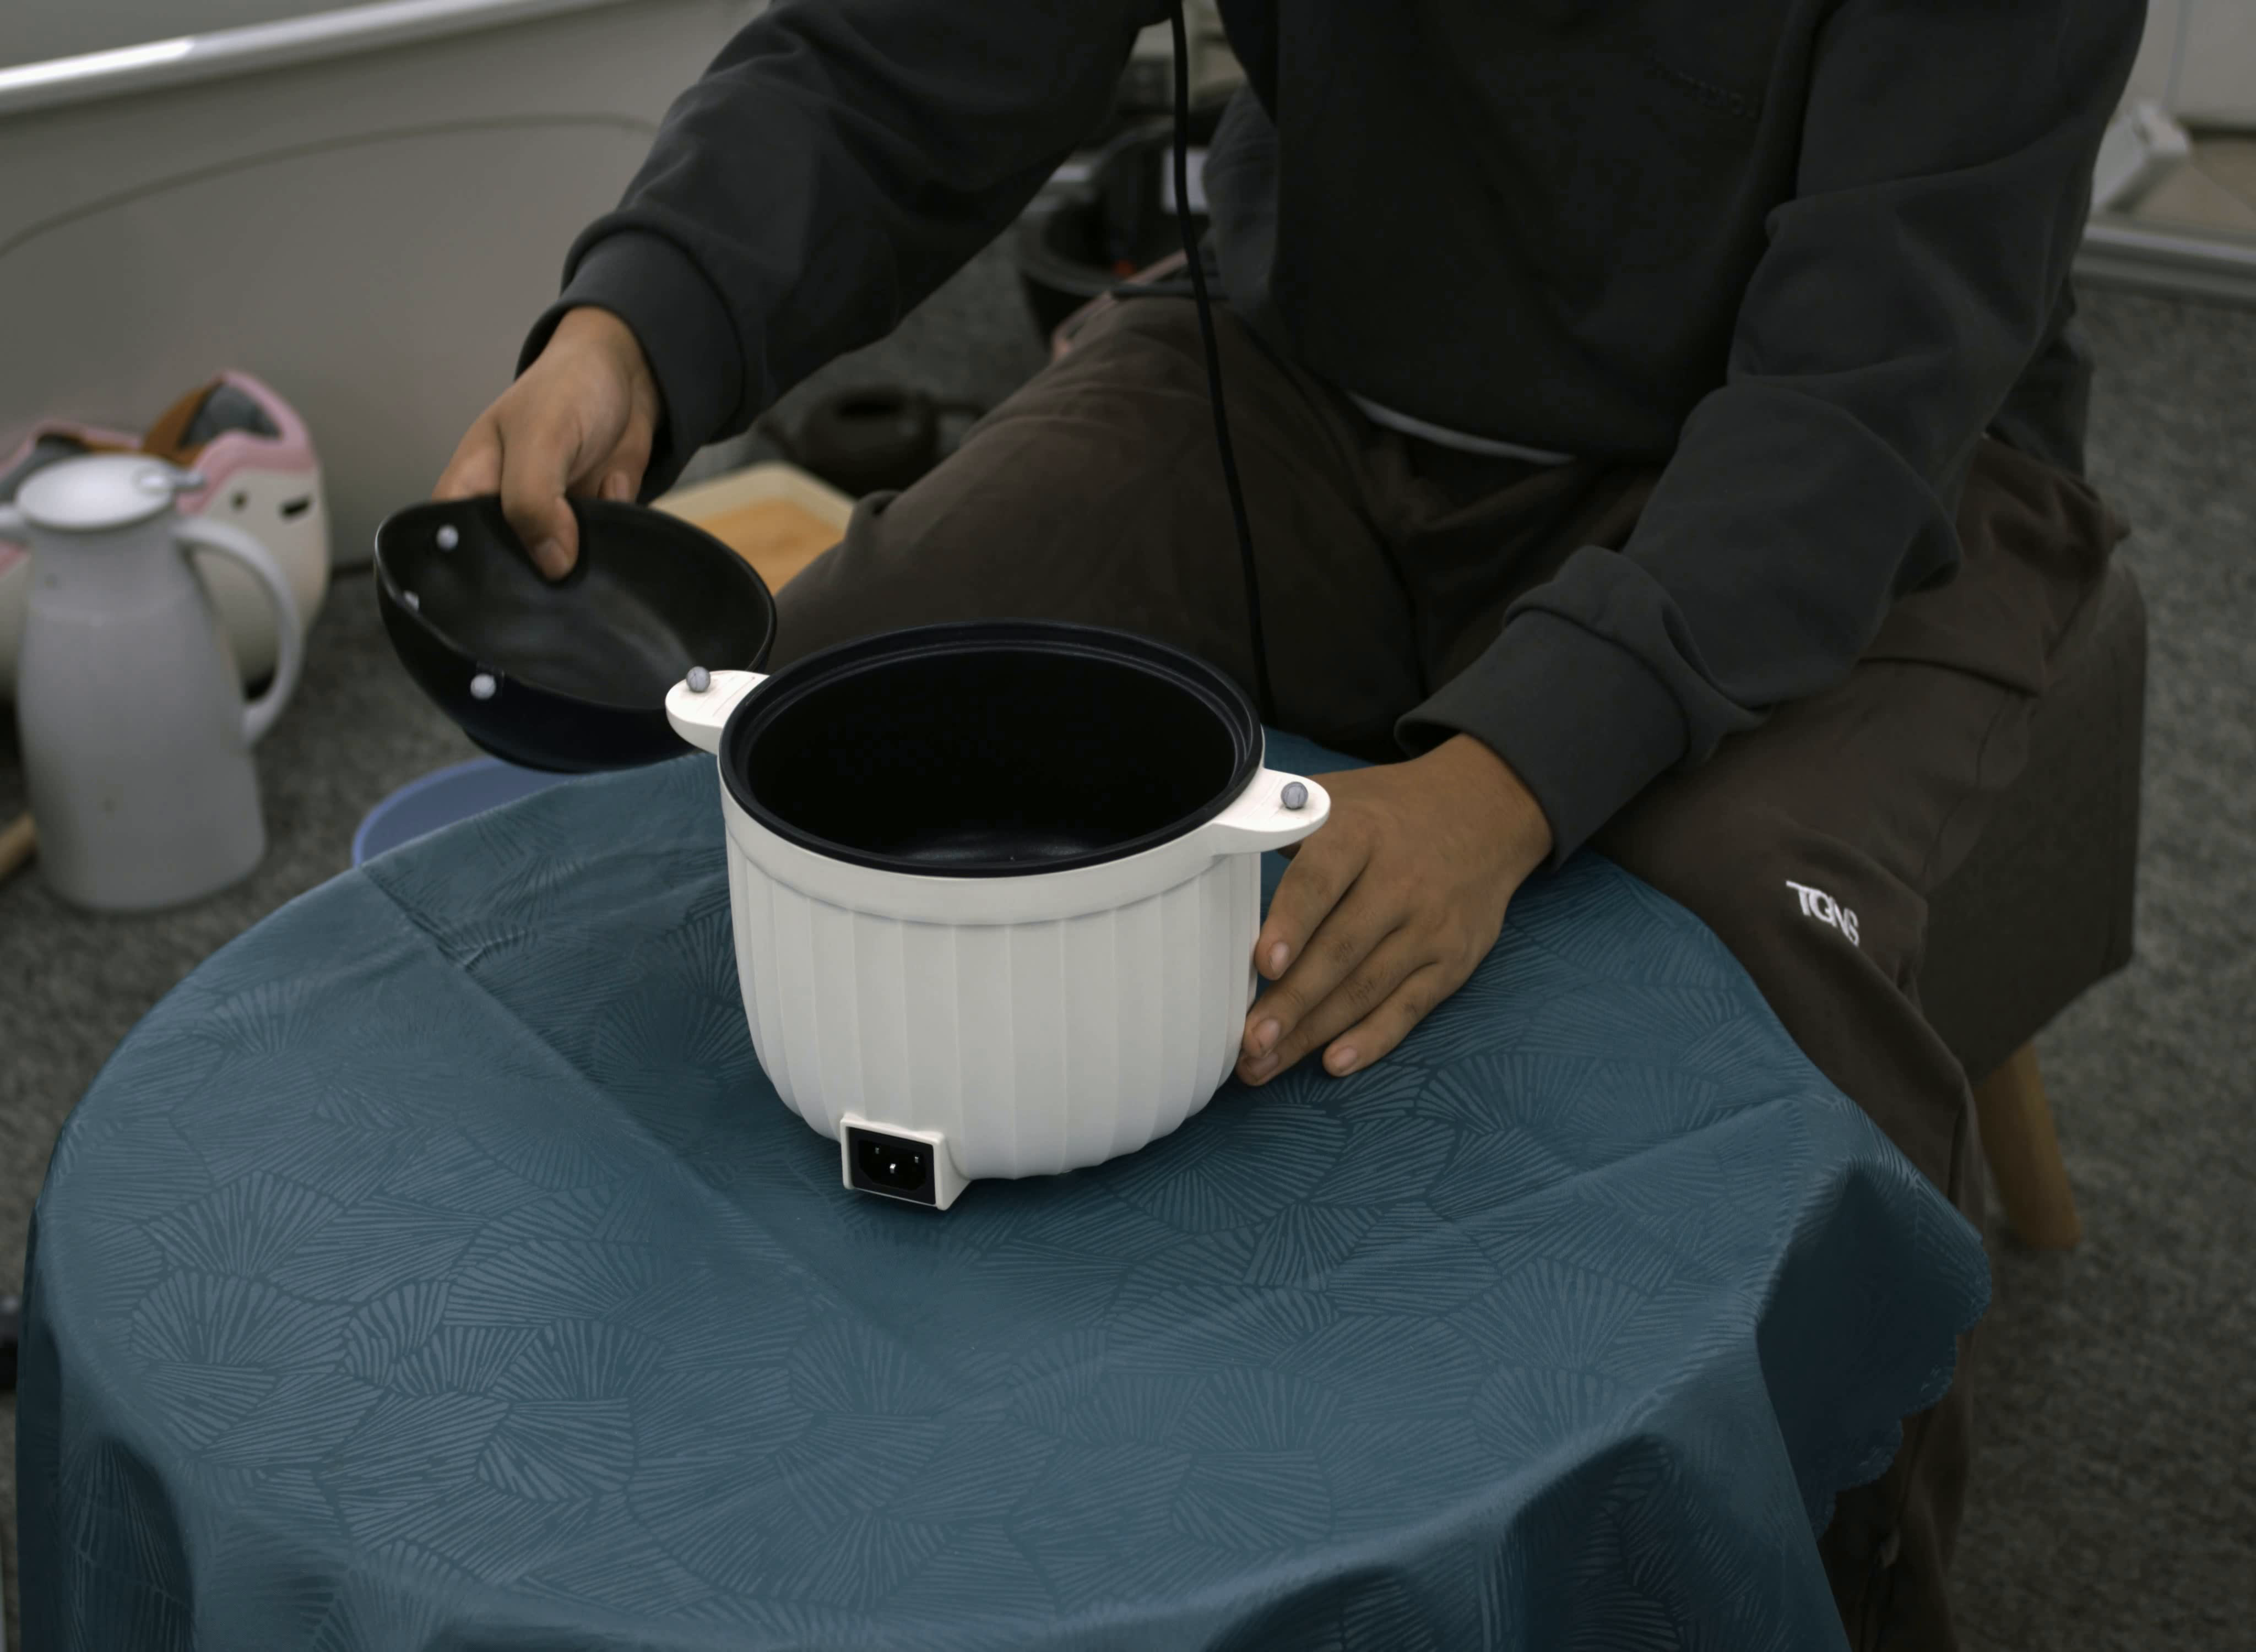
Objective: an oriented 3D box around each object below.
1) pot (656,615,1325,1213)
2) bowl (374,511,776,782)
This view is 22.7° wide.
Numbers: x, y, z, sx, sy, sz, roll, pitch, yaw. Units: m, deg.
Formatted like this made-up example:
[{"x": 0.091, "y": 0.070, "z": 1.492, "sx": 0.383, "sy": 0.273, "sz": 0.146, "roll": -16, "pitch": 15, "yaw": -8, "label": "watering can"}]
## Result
[{"x": -0.045, "y": 0.026, "z": 1.902, "sx": 0.239, "sy": 0.141, "sz": 0.194, "roll": 11, "pitch": 33, "yaw": 20, "label": "pot"}, {"x": -0.199, "y": -0.058, "z": 1.986, "sx": 0.138, "sy": 0.066, "sz": 0.171, "roll": -6, "pitch": 31, "yaw": -28, "label": "bowl"}]
